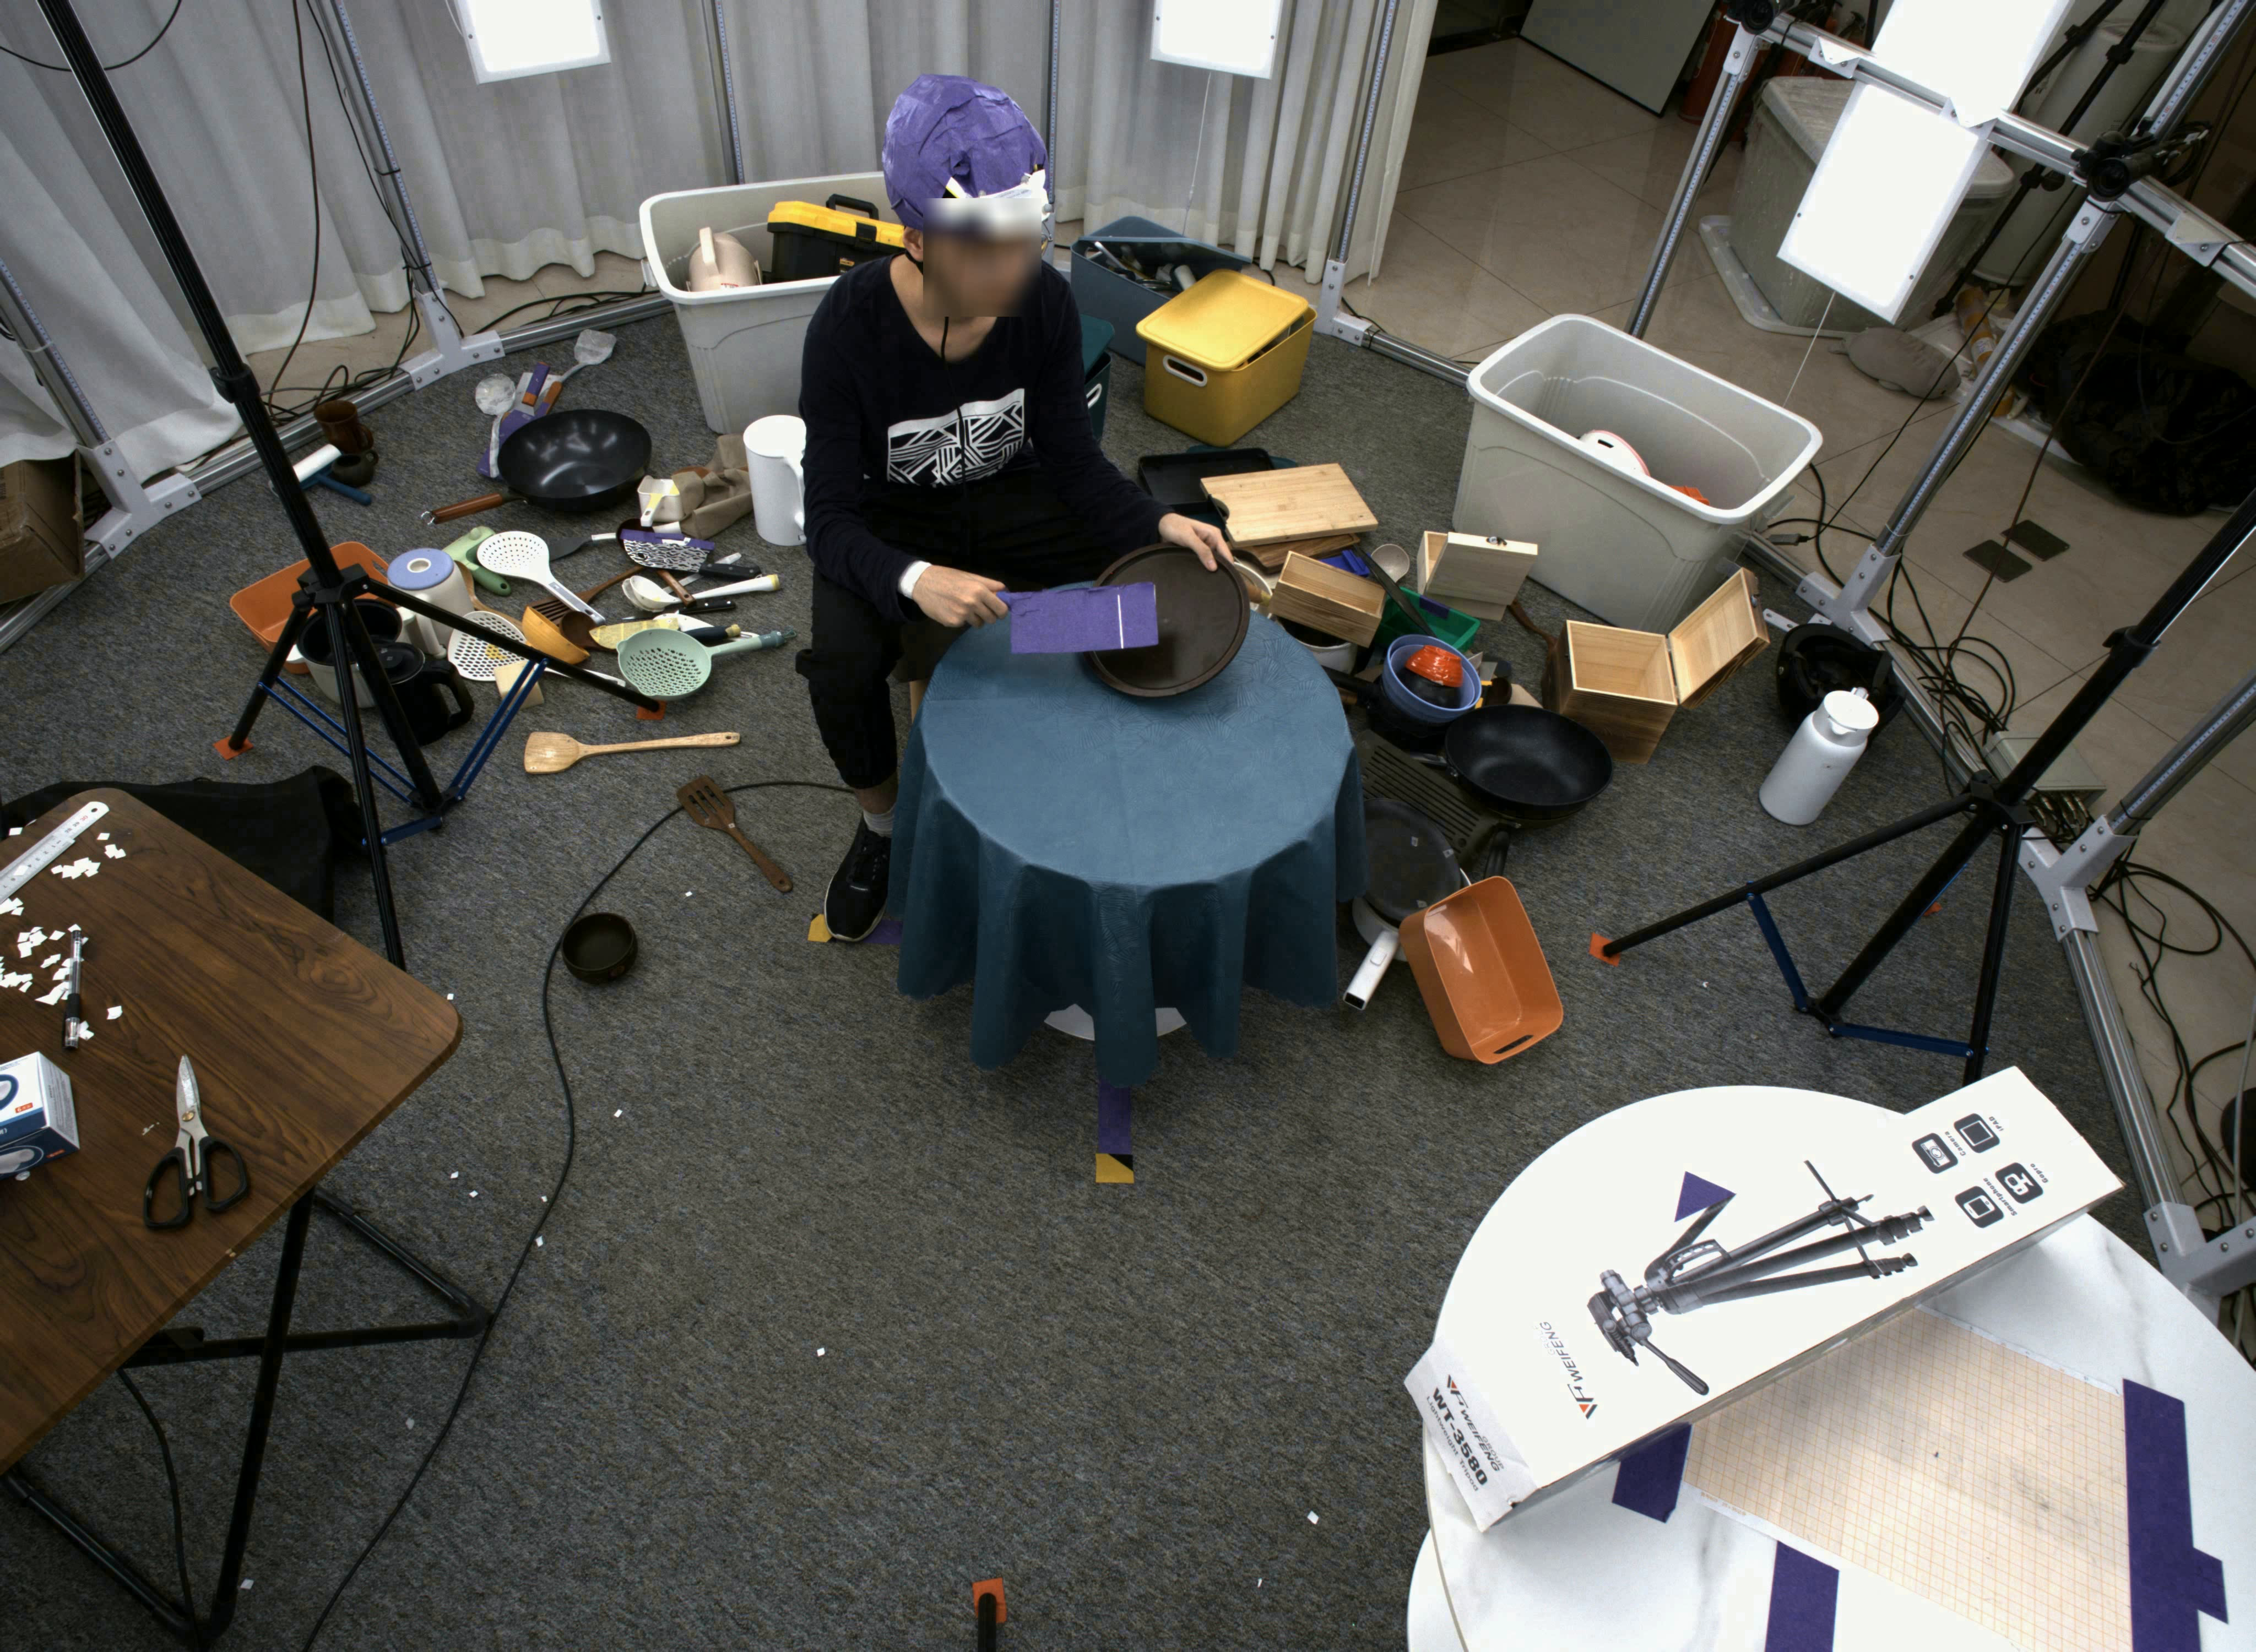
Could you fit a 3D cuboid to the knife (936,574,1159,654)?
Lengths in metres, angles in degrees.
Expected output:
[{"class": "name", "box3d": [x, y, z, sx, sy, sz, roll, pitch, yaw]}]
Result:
[{"class": "knife", "box3d": [-0.113, -0.290, 1.799, 0.315, 0.032, 0.105, -4, 79, 10]}]

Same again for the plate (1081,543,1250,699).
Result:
[{"class": "plate", "box3d": [0.052, -0.296, 1.852, 0.255, 0.028, 0.259, -6, 67, 14]}]
